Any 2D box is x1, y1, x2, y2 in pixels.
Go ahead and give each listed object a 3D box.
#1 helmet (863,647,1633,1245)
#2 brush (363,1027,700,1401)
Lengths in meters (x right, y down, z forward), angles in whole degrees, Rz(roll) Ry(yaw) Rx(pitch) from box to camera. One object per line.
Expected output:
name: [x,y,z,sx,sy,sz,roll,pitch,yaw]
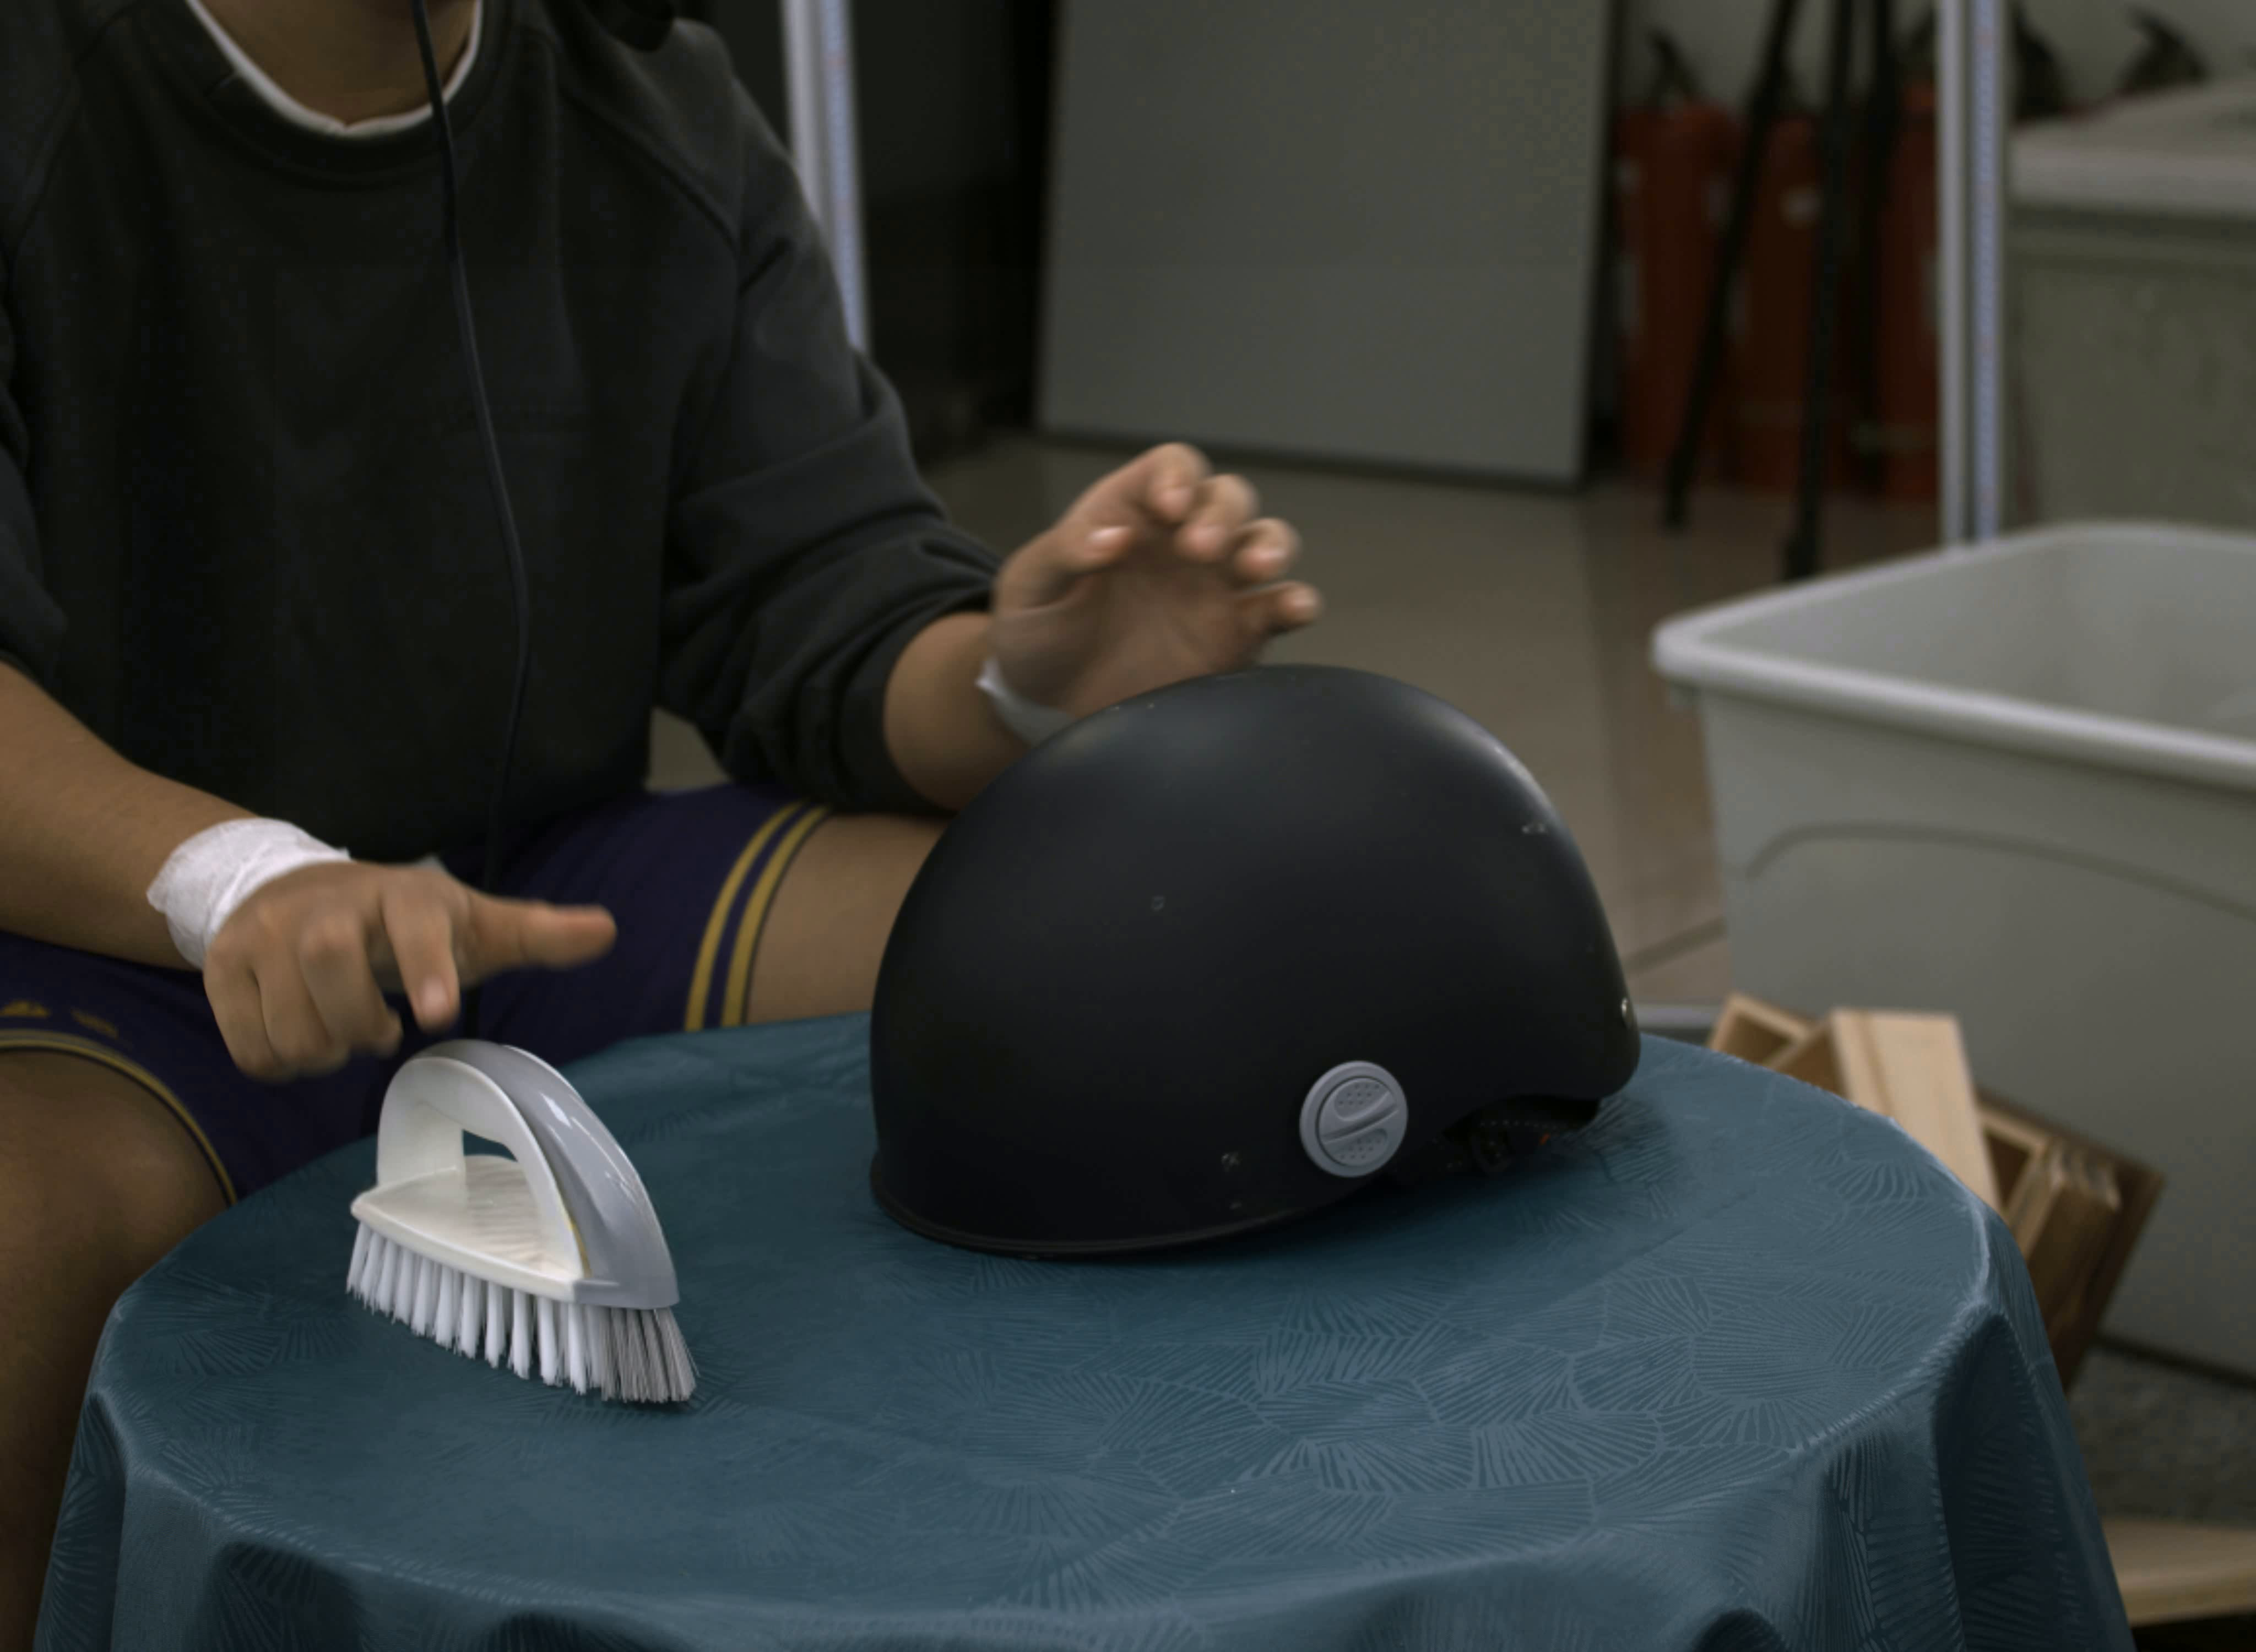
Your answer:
helmet: [0.034,0.031,1.790,0.267,0.168,0.232,-15,16,-31]
brush: [-0.179,0.115,1.656,0.060,0.095,0.177,-15,18,-29]
